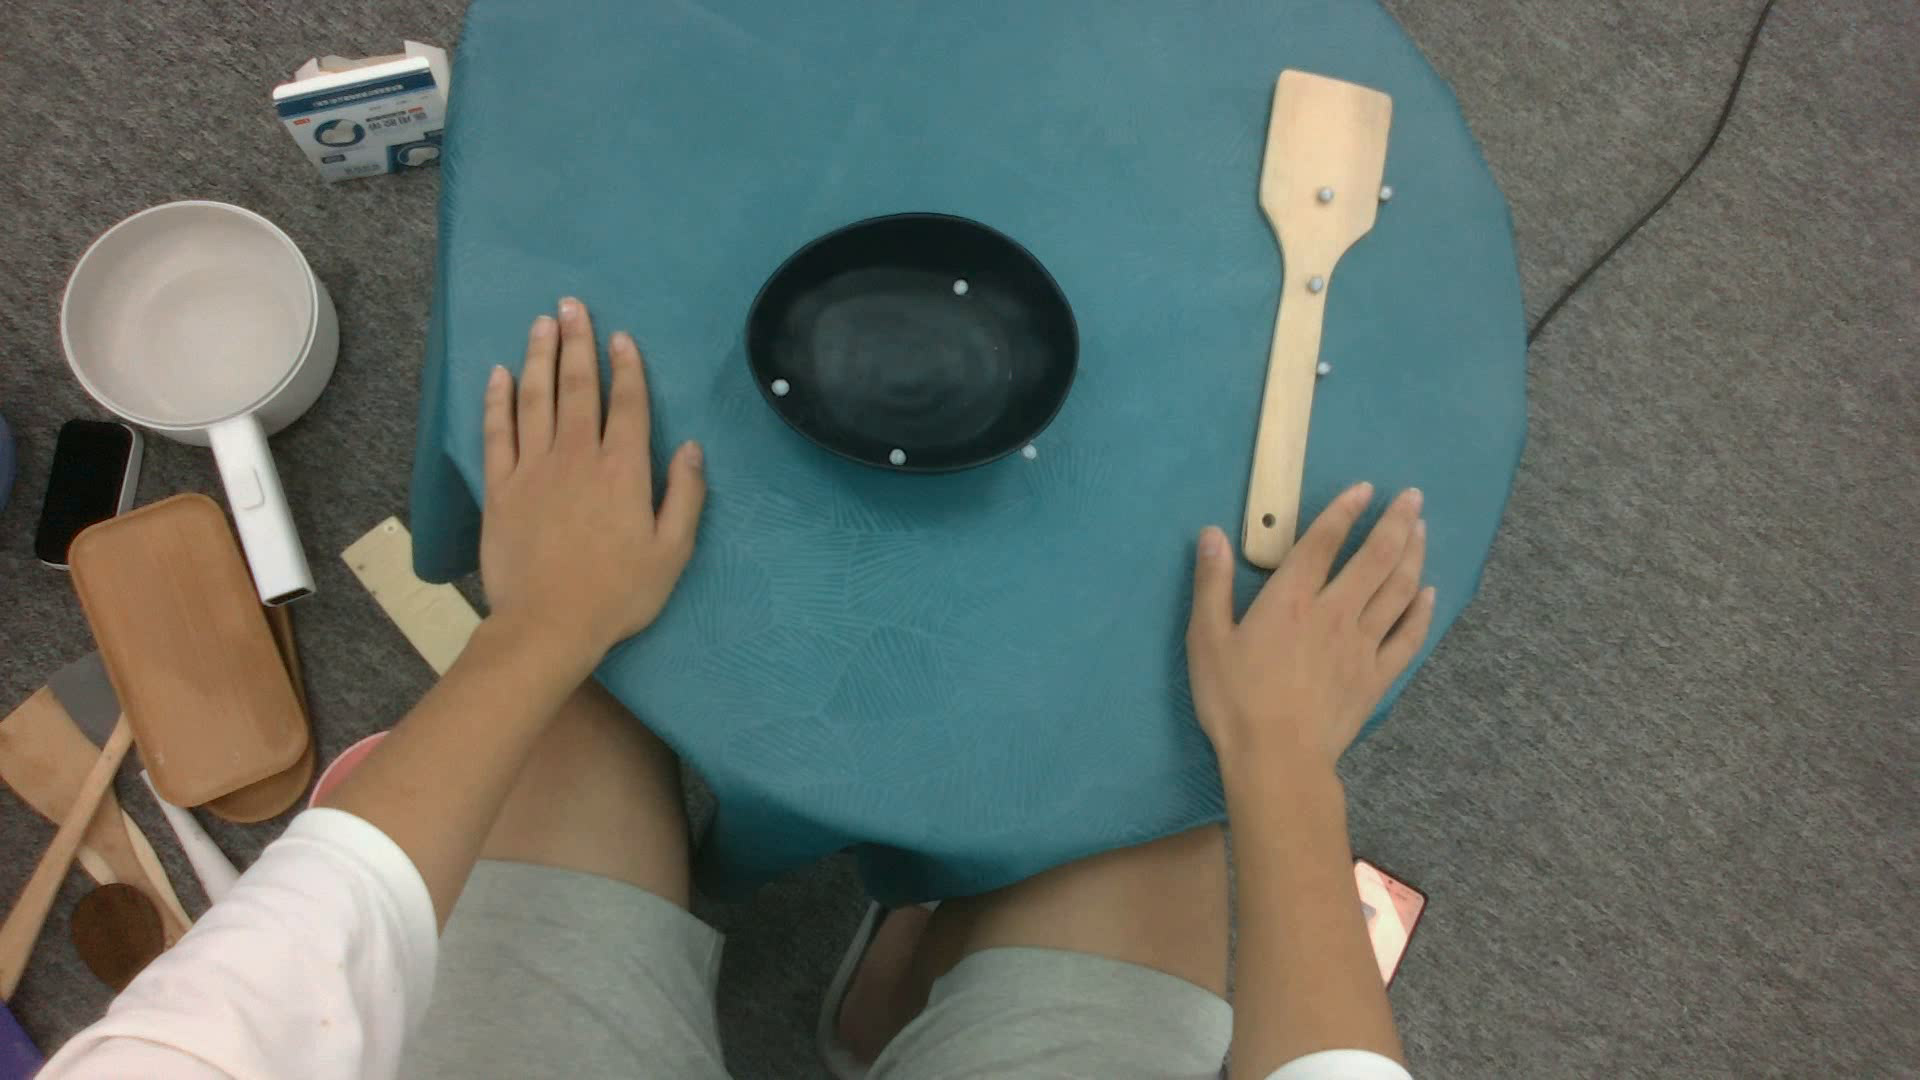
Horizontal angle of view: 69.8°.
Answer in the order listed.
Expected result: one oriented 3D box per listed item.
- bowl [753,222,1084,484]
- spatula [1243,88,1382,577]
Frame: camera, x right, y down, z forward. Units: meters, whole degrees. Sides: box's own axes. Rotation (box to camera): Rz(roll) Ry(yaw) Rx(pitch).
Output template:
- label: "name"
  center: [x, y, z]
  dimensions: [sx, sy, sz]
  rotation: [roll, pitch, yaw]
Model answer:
- label: "bowl"
  center: [-0.023, -0.091, 0.727]
  dimensions: [0.170, 0.066, 0.137]
  rotation: [-1, 79, -5]
- label: "spatula"
  center: [0.194, -0.121, 0.787]
  dimensions: [0.072, 0.010, 0.293]
  rotation: [11, 77, -6]
